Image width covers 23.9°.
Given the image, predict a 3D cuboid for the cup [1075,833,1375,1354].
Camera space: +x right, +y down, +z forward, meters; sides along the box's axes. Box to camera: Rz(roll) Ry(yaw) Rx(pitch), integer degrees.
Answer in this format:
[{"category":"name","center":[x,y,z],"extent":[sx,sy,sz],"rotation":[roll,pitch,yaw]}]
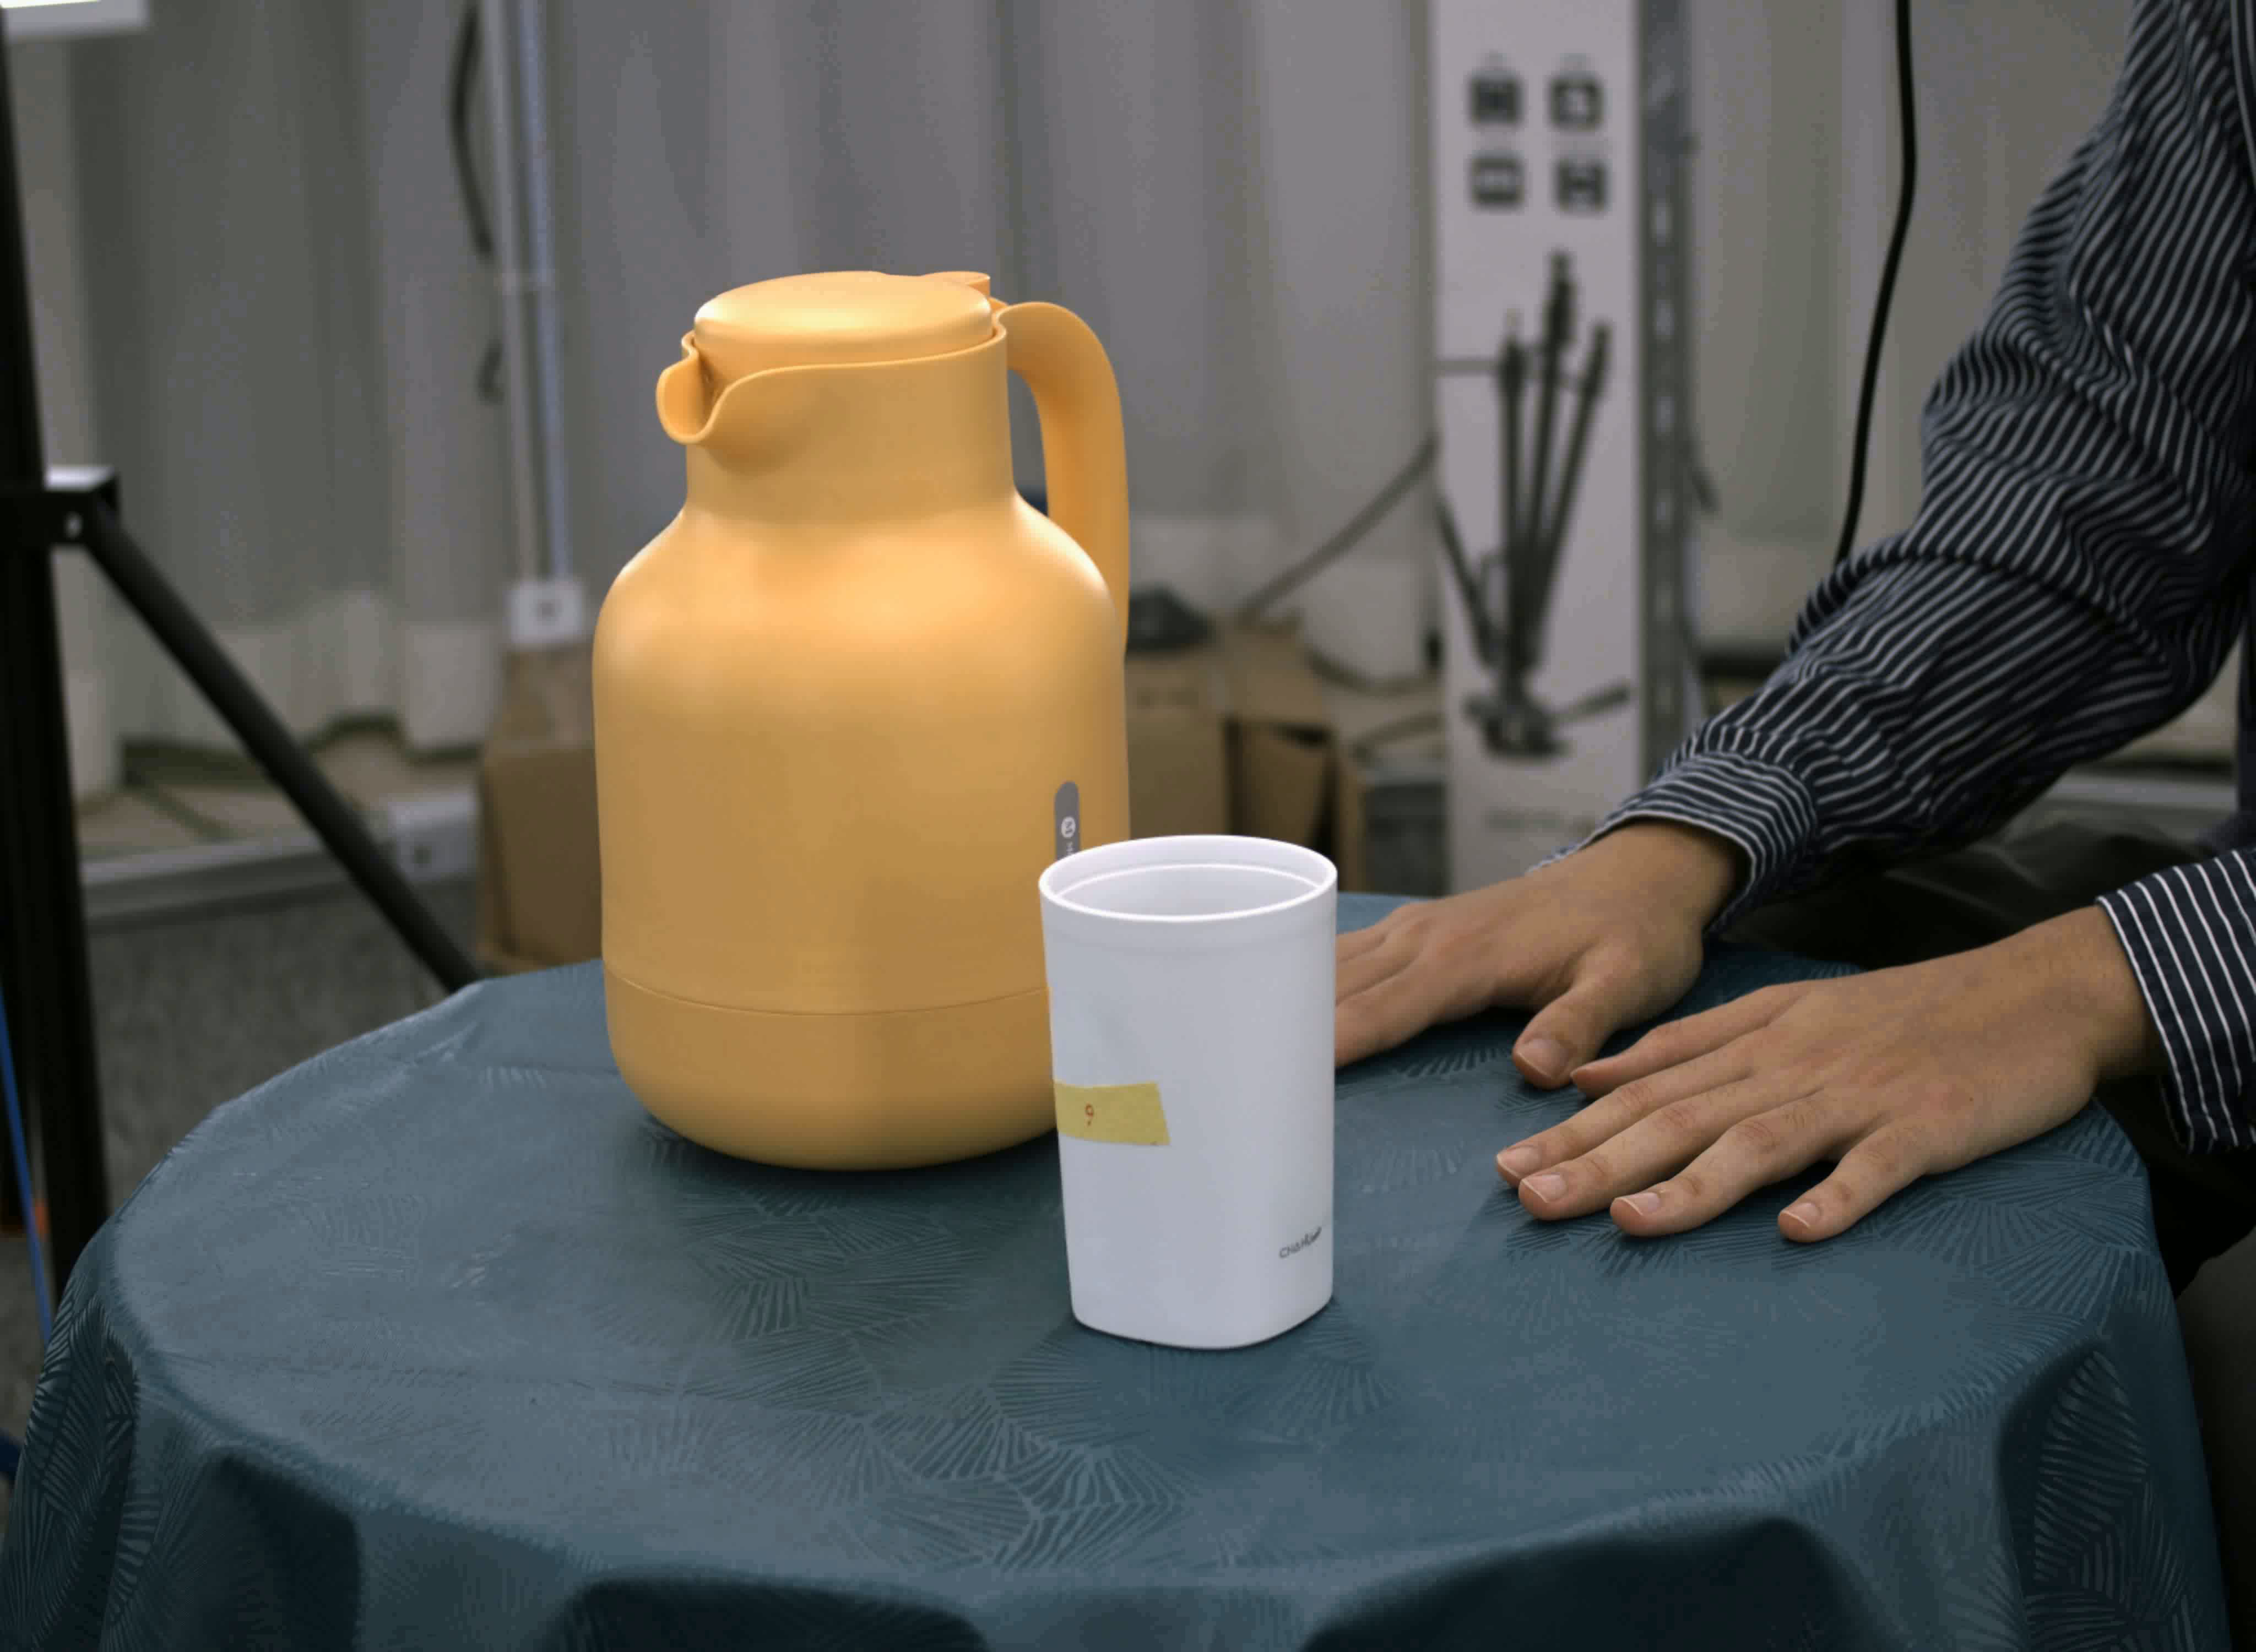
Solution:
[{"category":"cup","center":[0.028,0.073,1.444],"extent":[0.081,0.125,0.082],"rotation":[-2,15,-1]}]

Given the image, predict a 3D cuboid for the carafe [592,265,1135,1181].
[{"category":"carafe","center":[-0.067,-0.038,1.610],"extent":[0.167,0.260,0.198],"rotation":[10,20,34]}]
